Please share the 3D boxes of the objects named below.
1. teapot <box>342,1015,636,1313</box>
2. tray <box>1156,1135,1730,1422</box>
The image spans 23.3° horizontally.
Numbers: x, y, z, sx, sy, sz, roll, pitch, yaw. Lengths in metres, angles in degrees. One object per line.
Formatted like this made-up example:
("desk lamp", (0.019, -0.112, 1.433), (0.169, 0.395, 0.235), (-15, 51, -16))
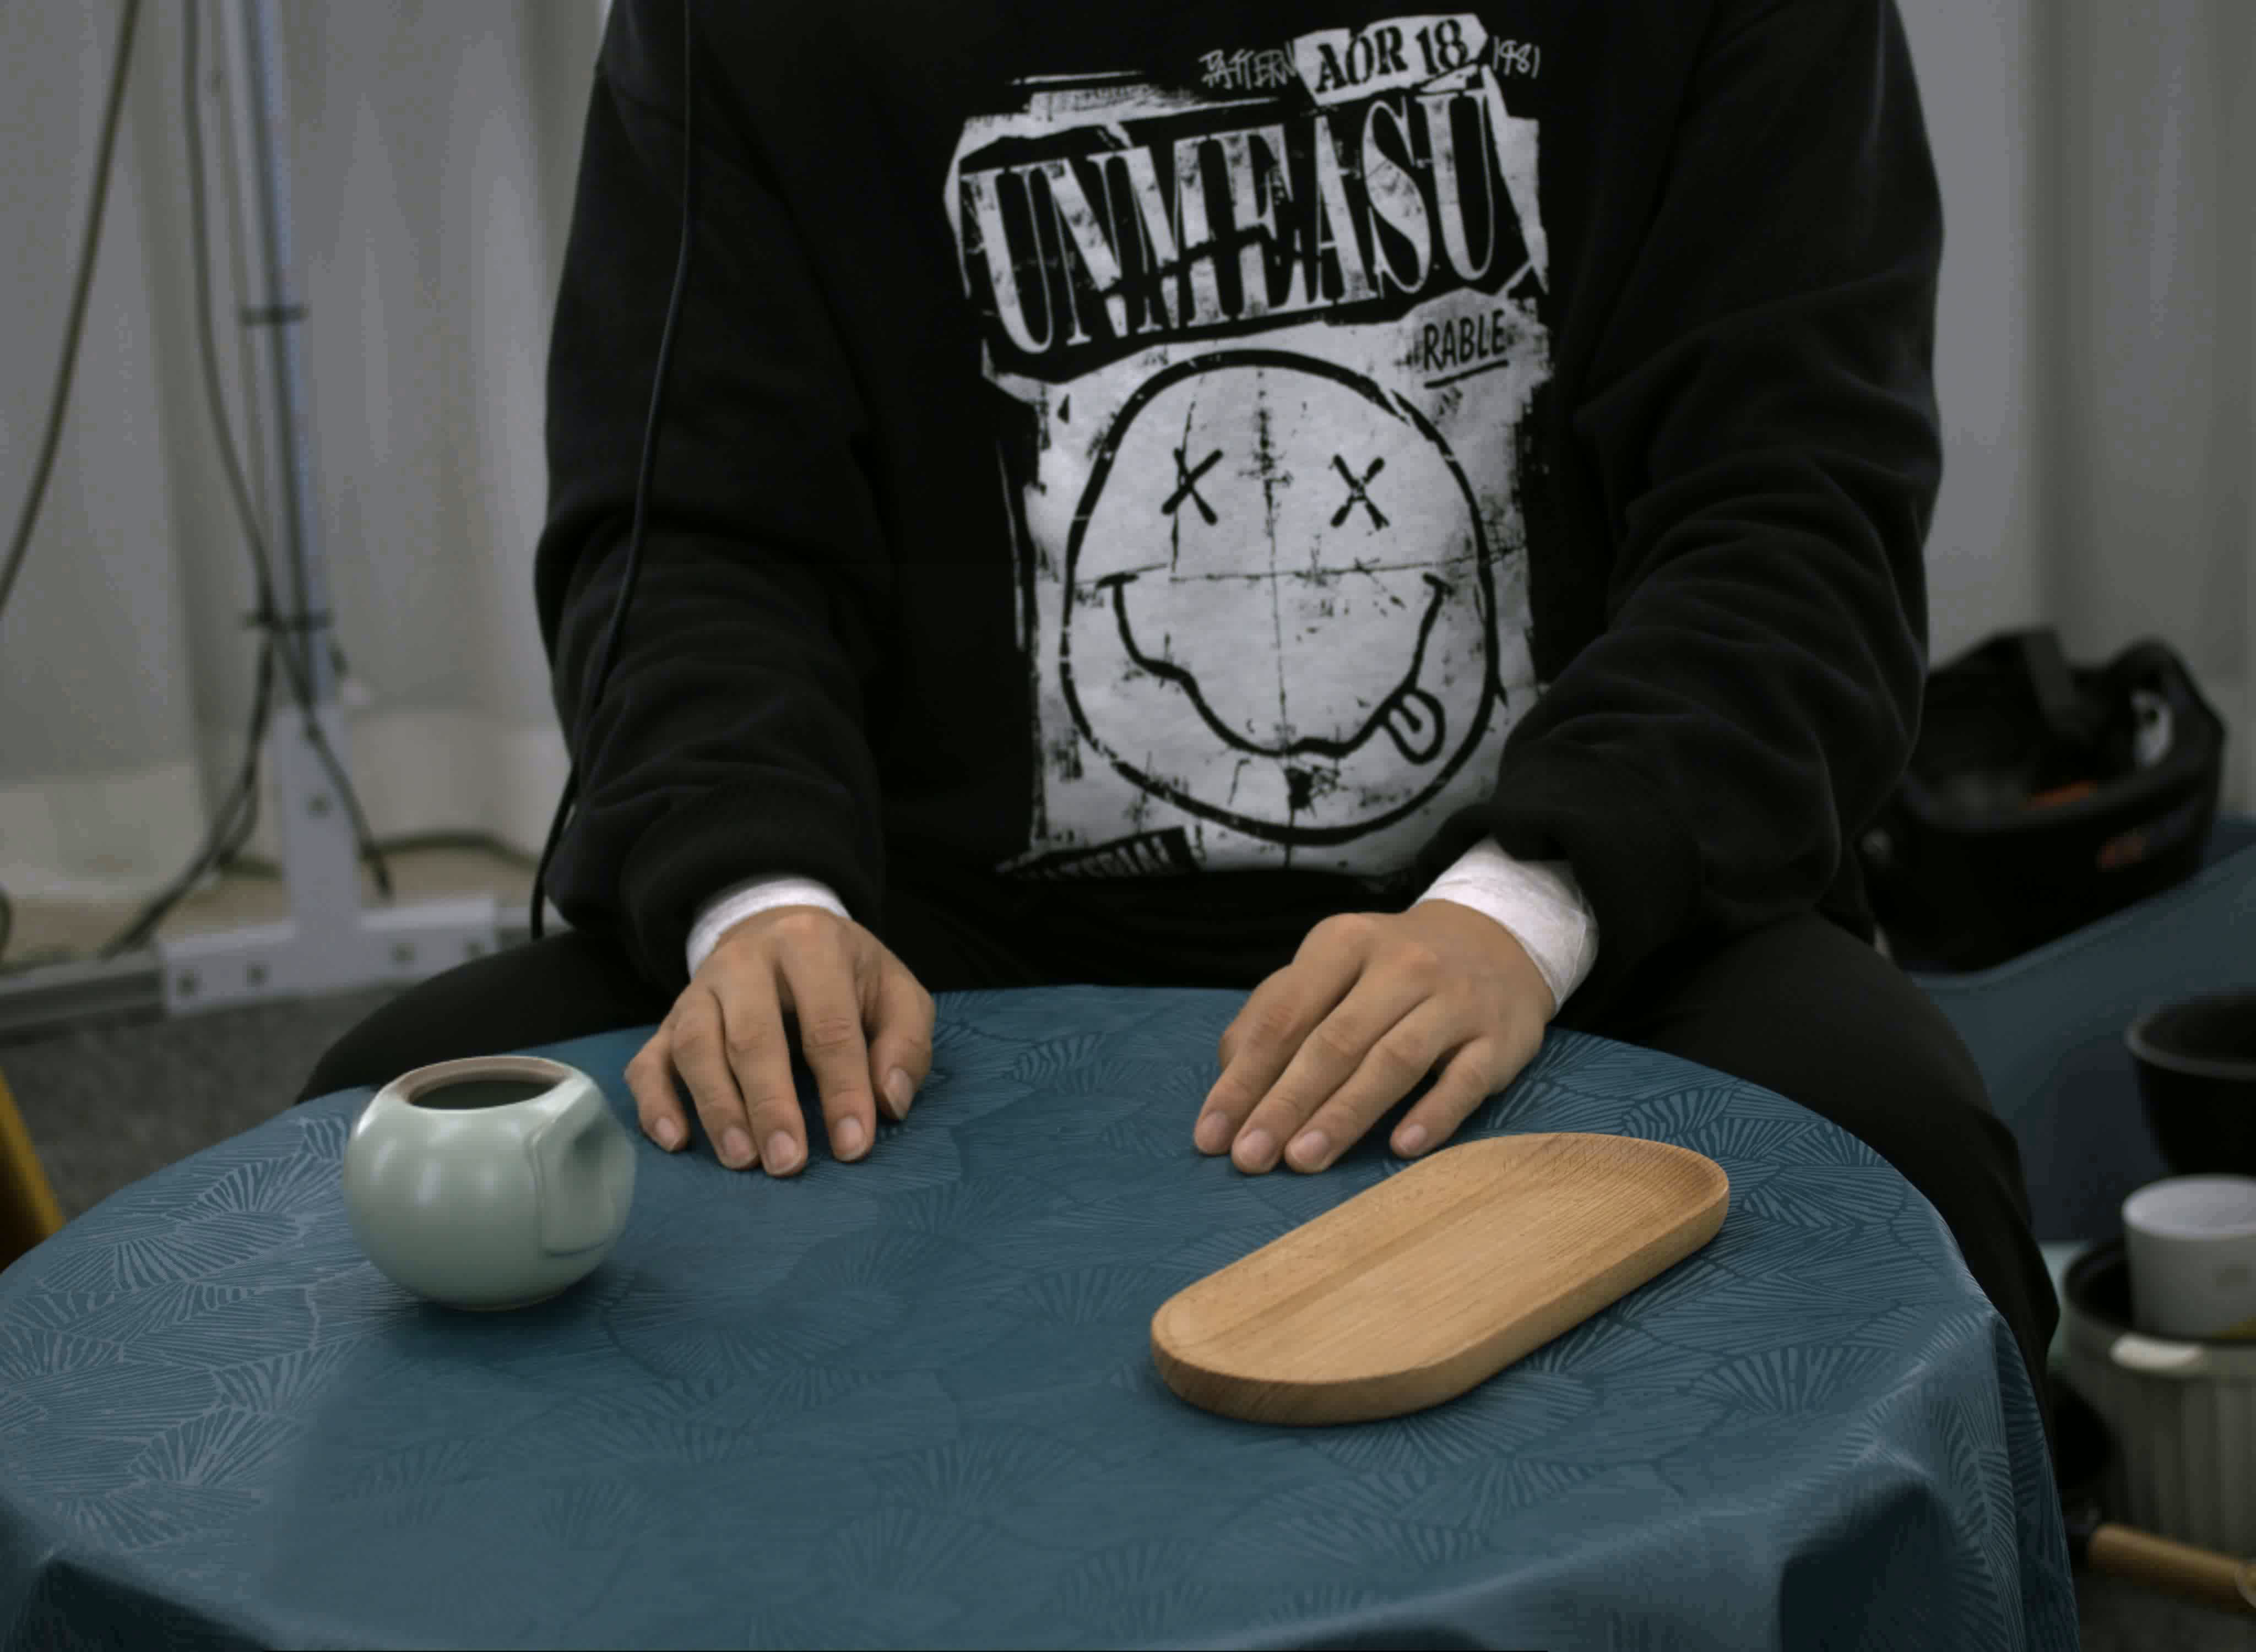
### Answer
("teapot", (-0.192, 0.105, 1.647), (0.088, 0.074, 0.145), (-13, 20, -37))
("tray", (0.095, 0.131, 1.606), (0.102, 0.020, 0.231), (9, 17, 33))
